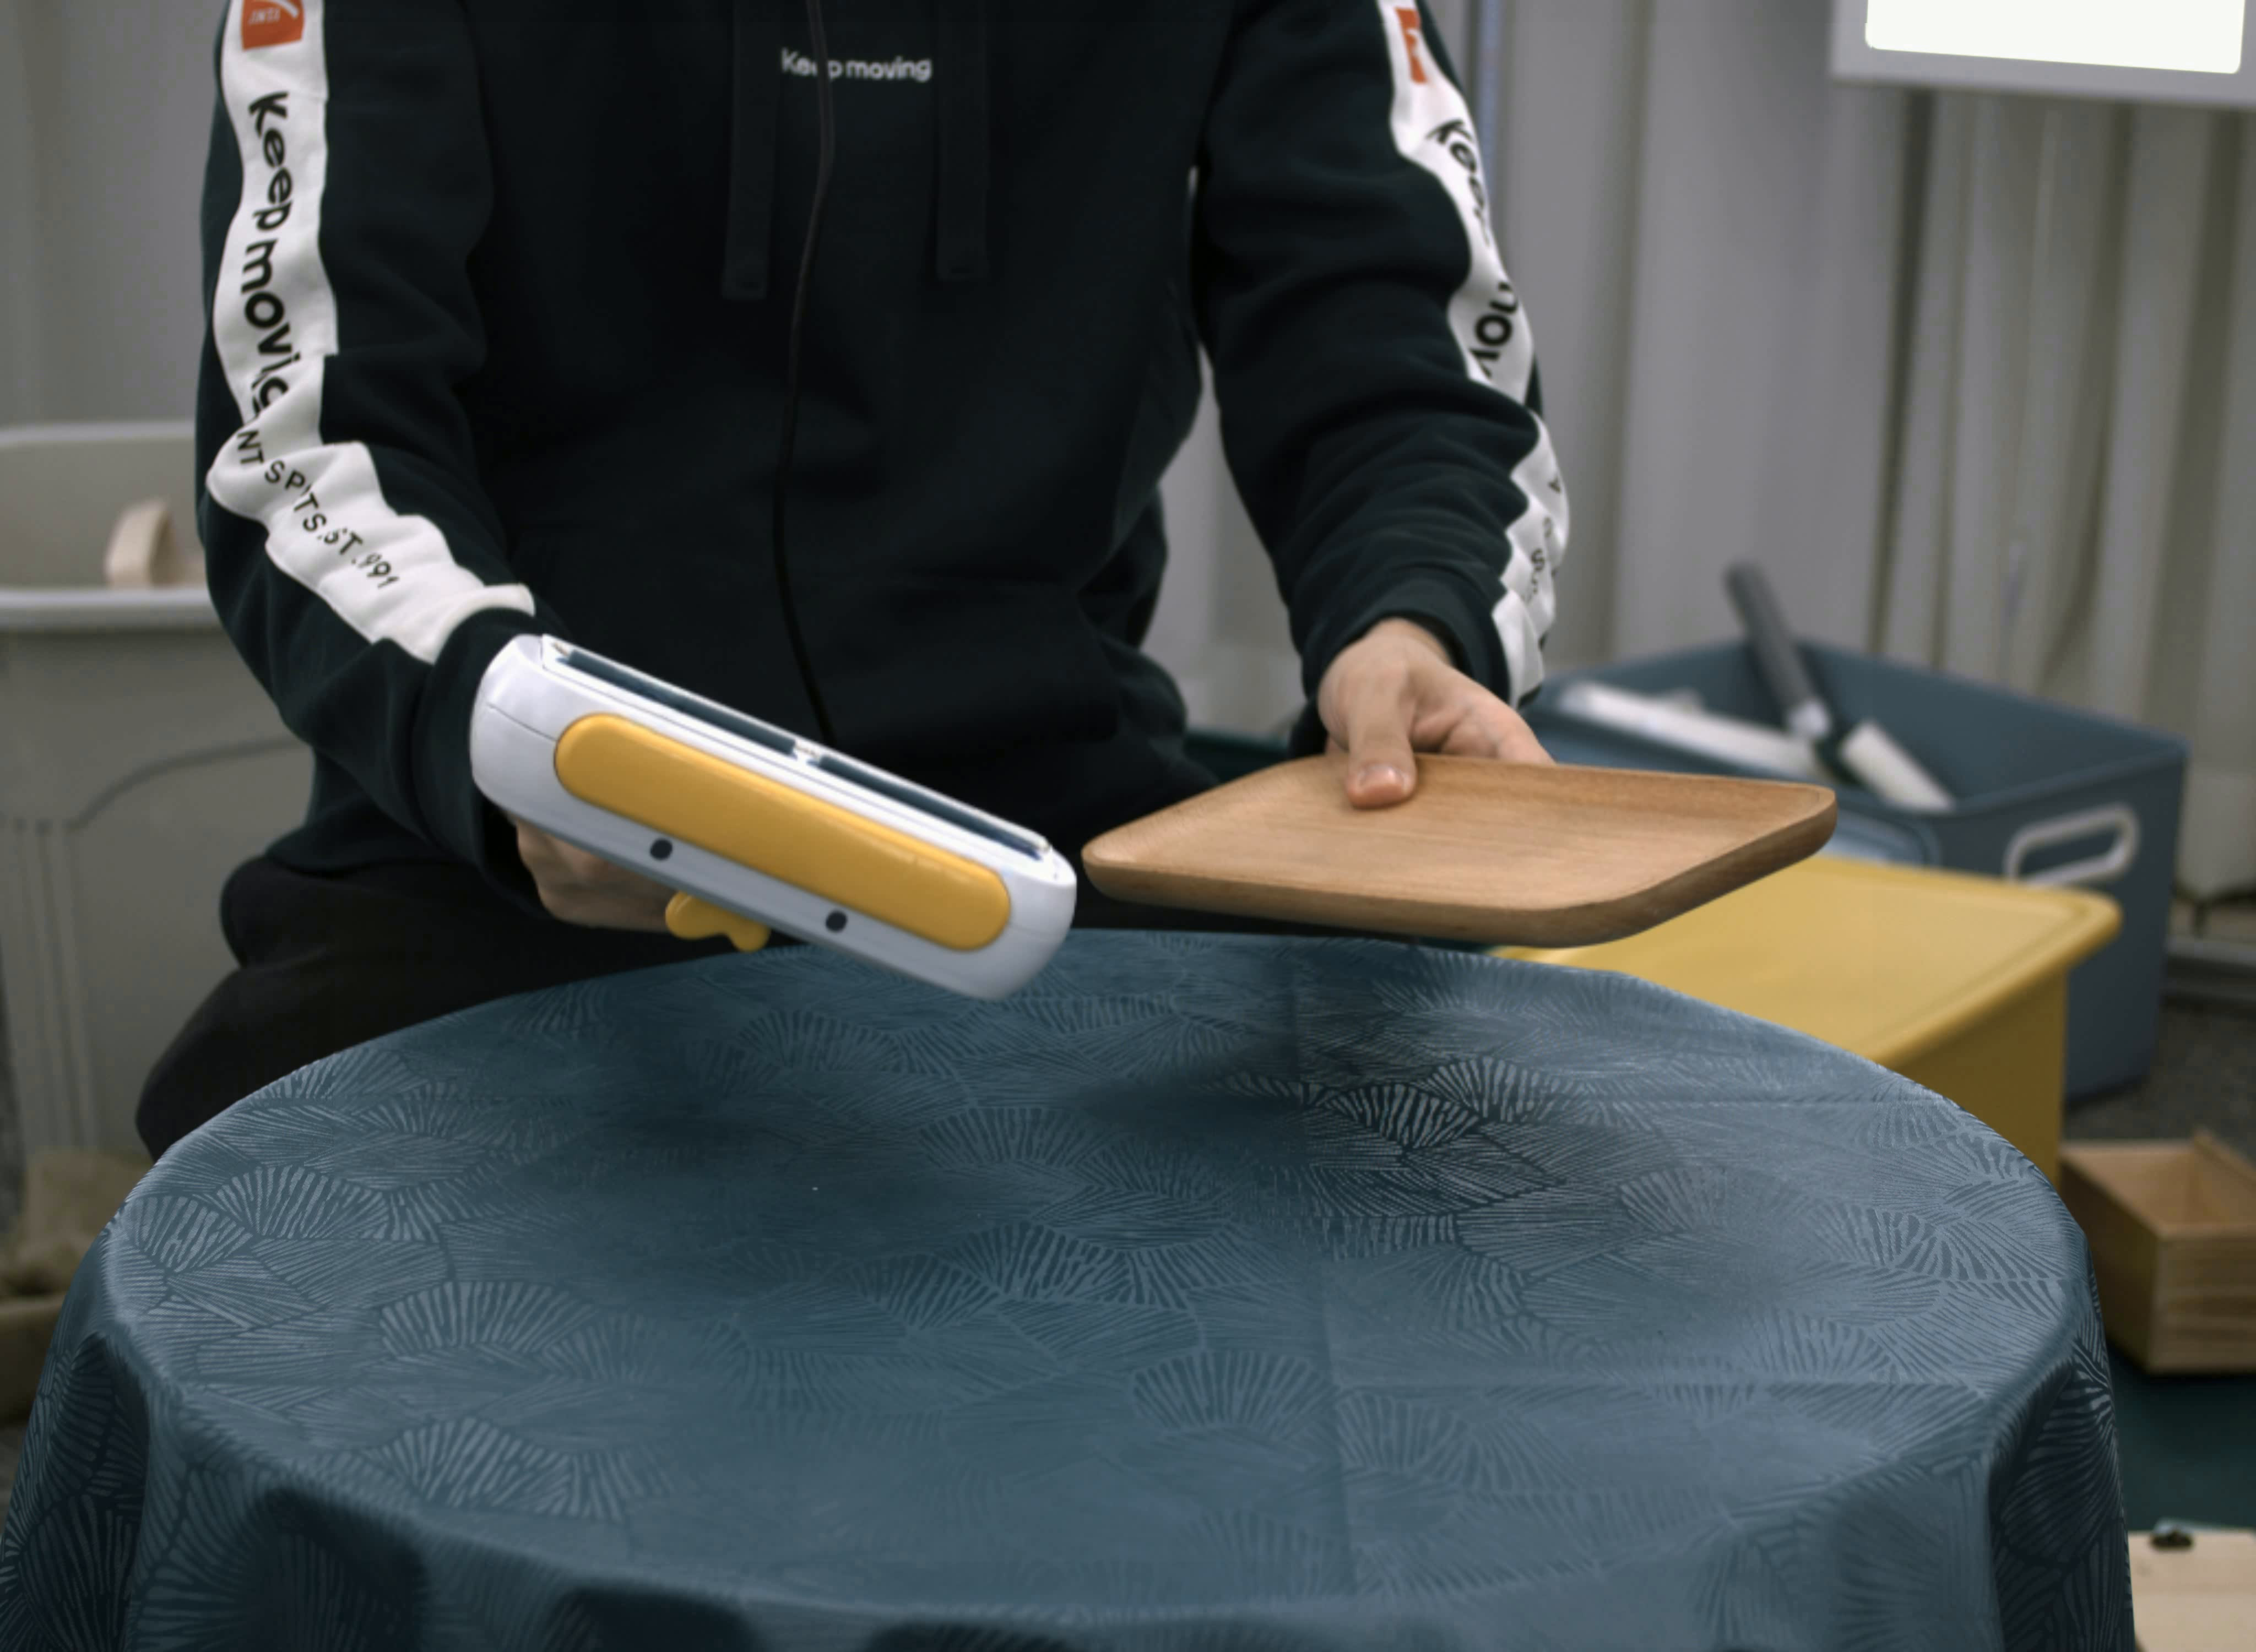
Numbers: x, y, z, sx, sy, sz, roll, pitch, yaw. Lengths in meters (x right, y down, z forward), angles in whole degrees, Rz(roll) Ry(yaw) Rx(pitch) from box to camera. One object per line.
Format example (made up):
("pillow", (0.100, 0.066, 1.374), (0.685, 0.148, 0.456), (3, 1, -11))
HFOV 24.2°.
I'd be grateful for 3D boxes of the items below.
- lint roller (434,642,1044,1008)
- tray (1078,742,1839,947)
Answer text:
("lint roller", (-0.129, 0.013, 1.642), (0.193, 0.074, 0.192), (19, -11, -7))
("tray", (0.100, 0.004, 1.646), (0.131, 0.023, 0.248), (-19, 15, -37))
